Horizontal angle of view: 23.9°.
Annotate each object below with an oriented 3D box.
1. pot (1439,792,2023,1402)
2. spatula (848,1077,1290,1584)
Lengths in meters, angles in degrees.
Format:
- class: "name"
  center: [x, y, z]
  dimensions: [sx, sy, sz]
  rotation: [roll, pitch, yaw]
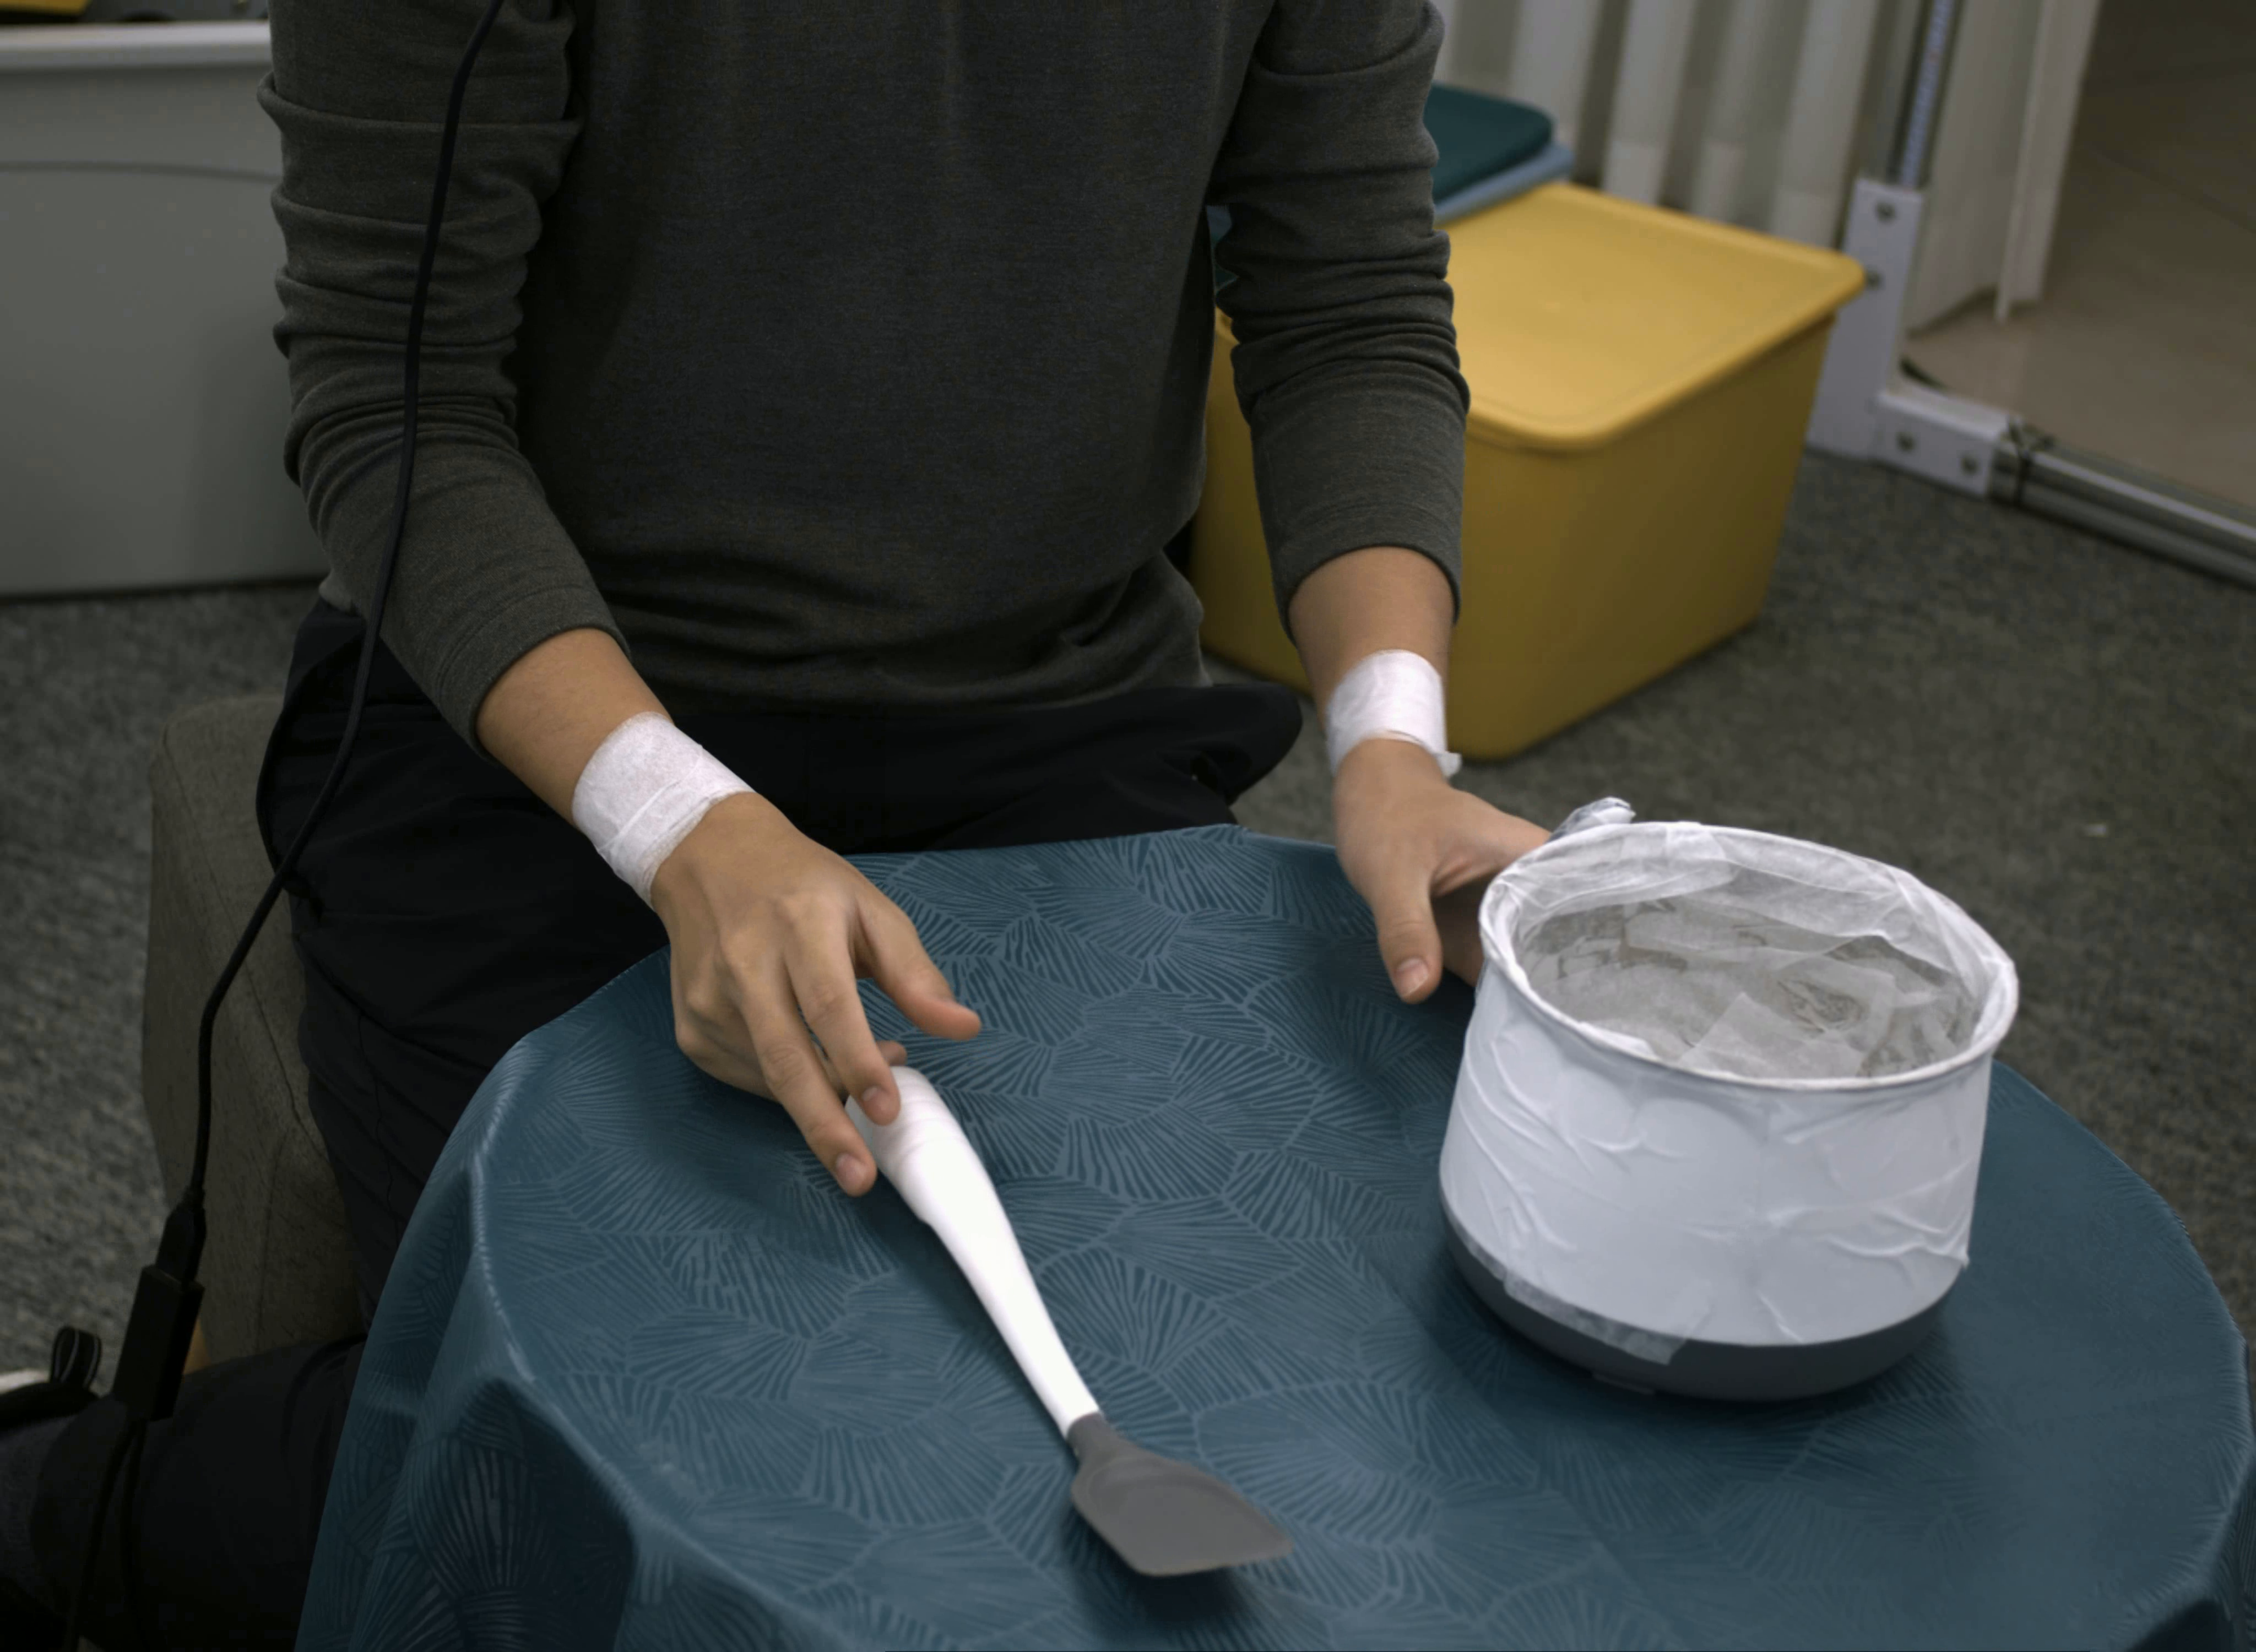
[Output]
- class: "pot"
  center: [0.184, 0.083, 1.776]
  dimensions: [0.177, 0.136, 0.236]
  rotation: [-5, 29, -23]
- class: "spatula"
  center: [-0.027, 0.163, 1.686]
  dimensions: [0.058, 0.032, 0.290]
  rotation: [-2, 27, -23]
